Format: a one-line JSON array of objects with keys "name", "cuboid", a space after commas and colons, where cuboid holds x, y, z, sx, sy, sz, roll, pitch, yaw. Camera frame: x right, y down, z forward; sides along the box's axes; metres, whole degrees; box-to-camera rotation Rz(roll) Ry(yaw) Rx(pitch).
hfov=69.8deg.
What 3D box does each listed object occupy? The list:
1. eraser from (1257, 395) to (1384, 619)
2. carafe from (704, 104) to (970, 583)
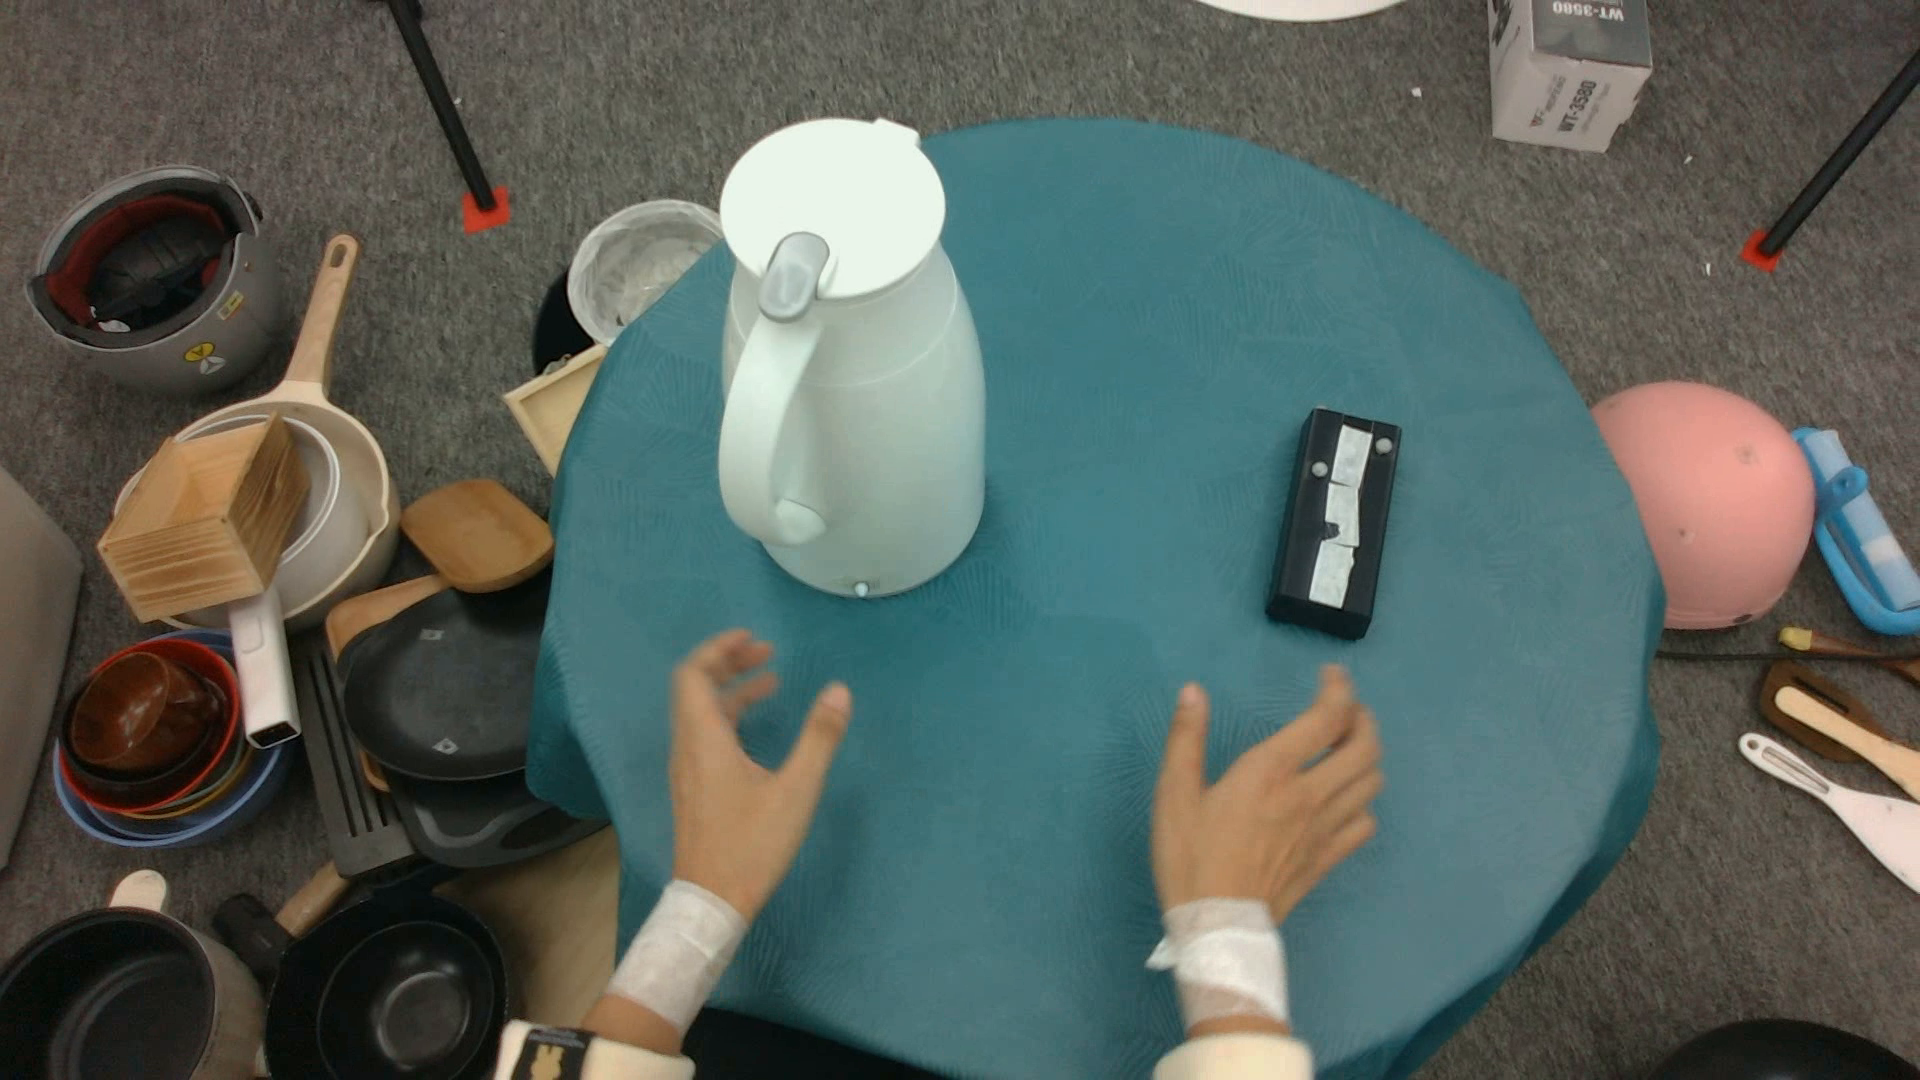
[{"name": "eraser", "cuboid": [0.197, -0.020, 0.755, 0.053, 0.030, 0.126, 12, 63, 7]}, {"name": "carafe", "cuboid": [-0.066, -0.074, 0.652, 0.132, 0.247, 0.168, 21, 65, 9]}]
